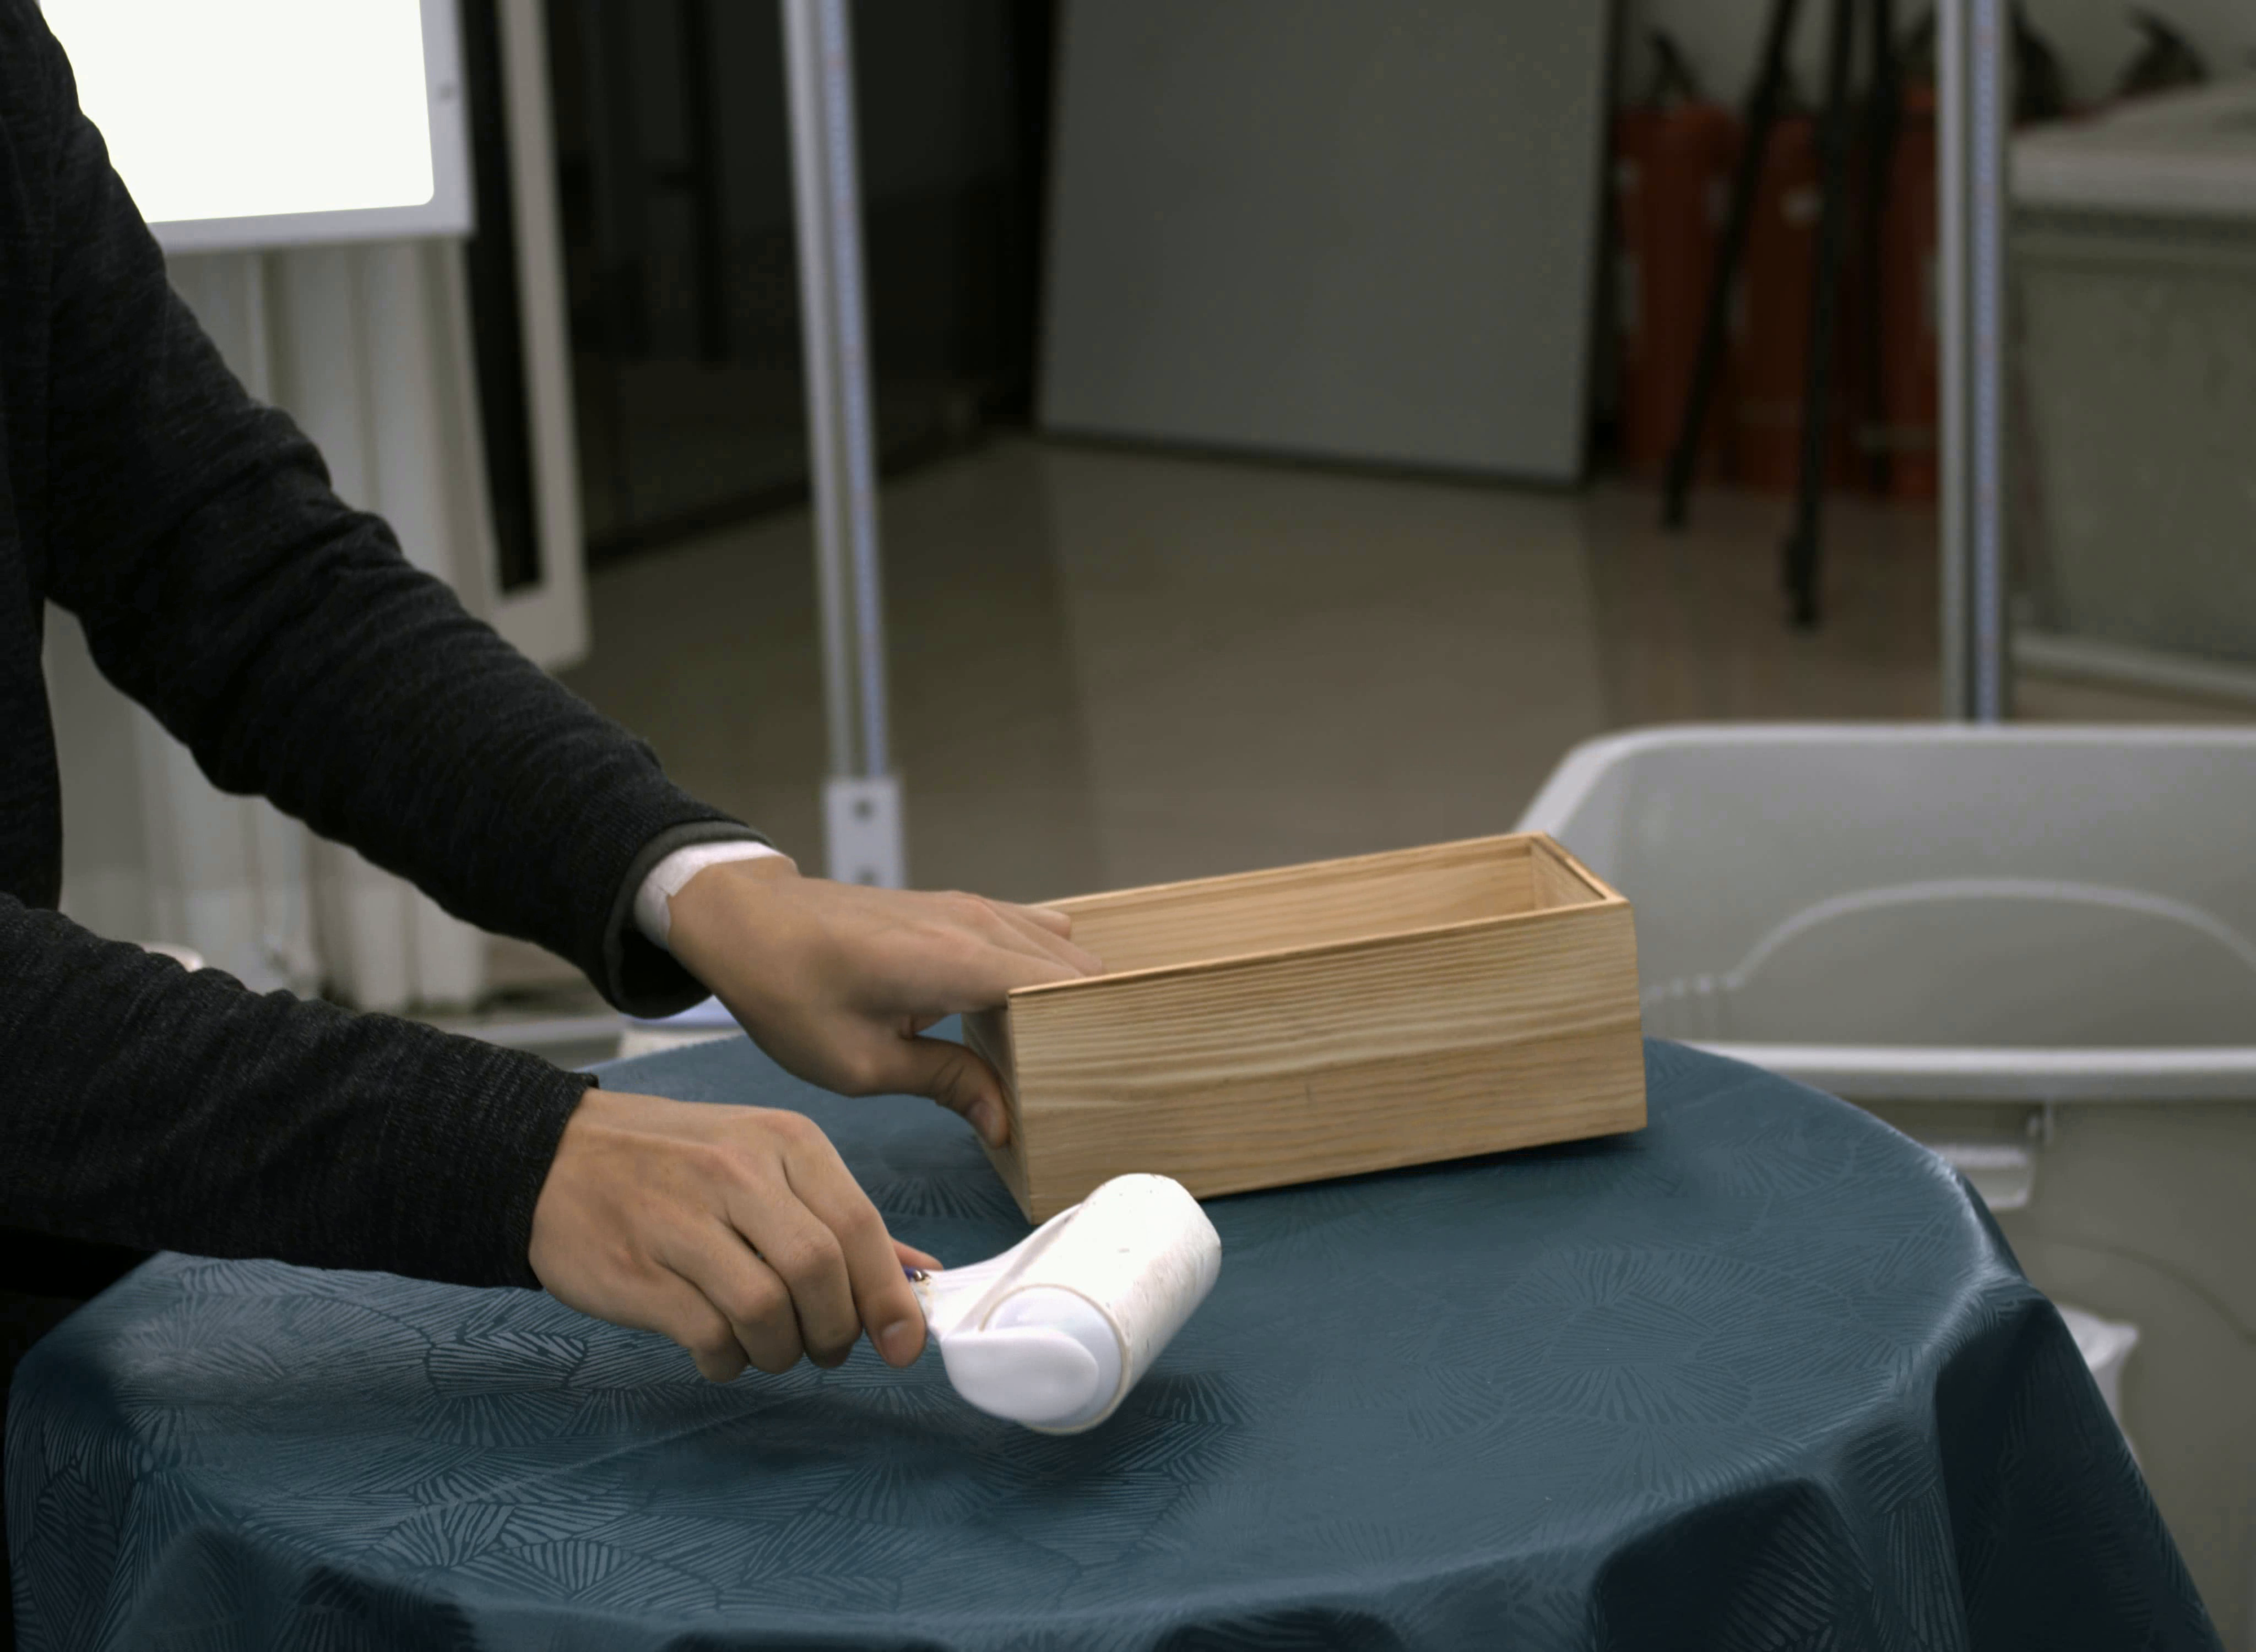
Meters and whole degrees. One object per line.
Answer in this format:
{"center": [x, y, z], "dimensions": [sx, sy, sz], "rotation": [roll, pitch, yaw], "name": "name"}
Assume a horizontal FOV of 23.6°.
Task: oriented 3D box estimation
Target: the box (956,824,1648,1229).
{"center": [0.057, 0.066, 1.797], "dimensions": [0.208, 0.081, 0.108], "rotation": [-9, 14, -9], "name": "box"}

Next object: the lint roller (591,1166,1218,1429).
{"center": [-0.070, 0.126, 1.565], "dimensions": [0.180, 0.051, 0.132], "rotation": [8, 17, 17], "name": "lint roller"}
